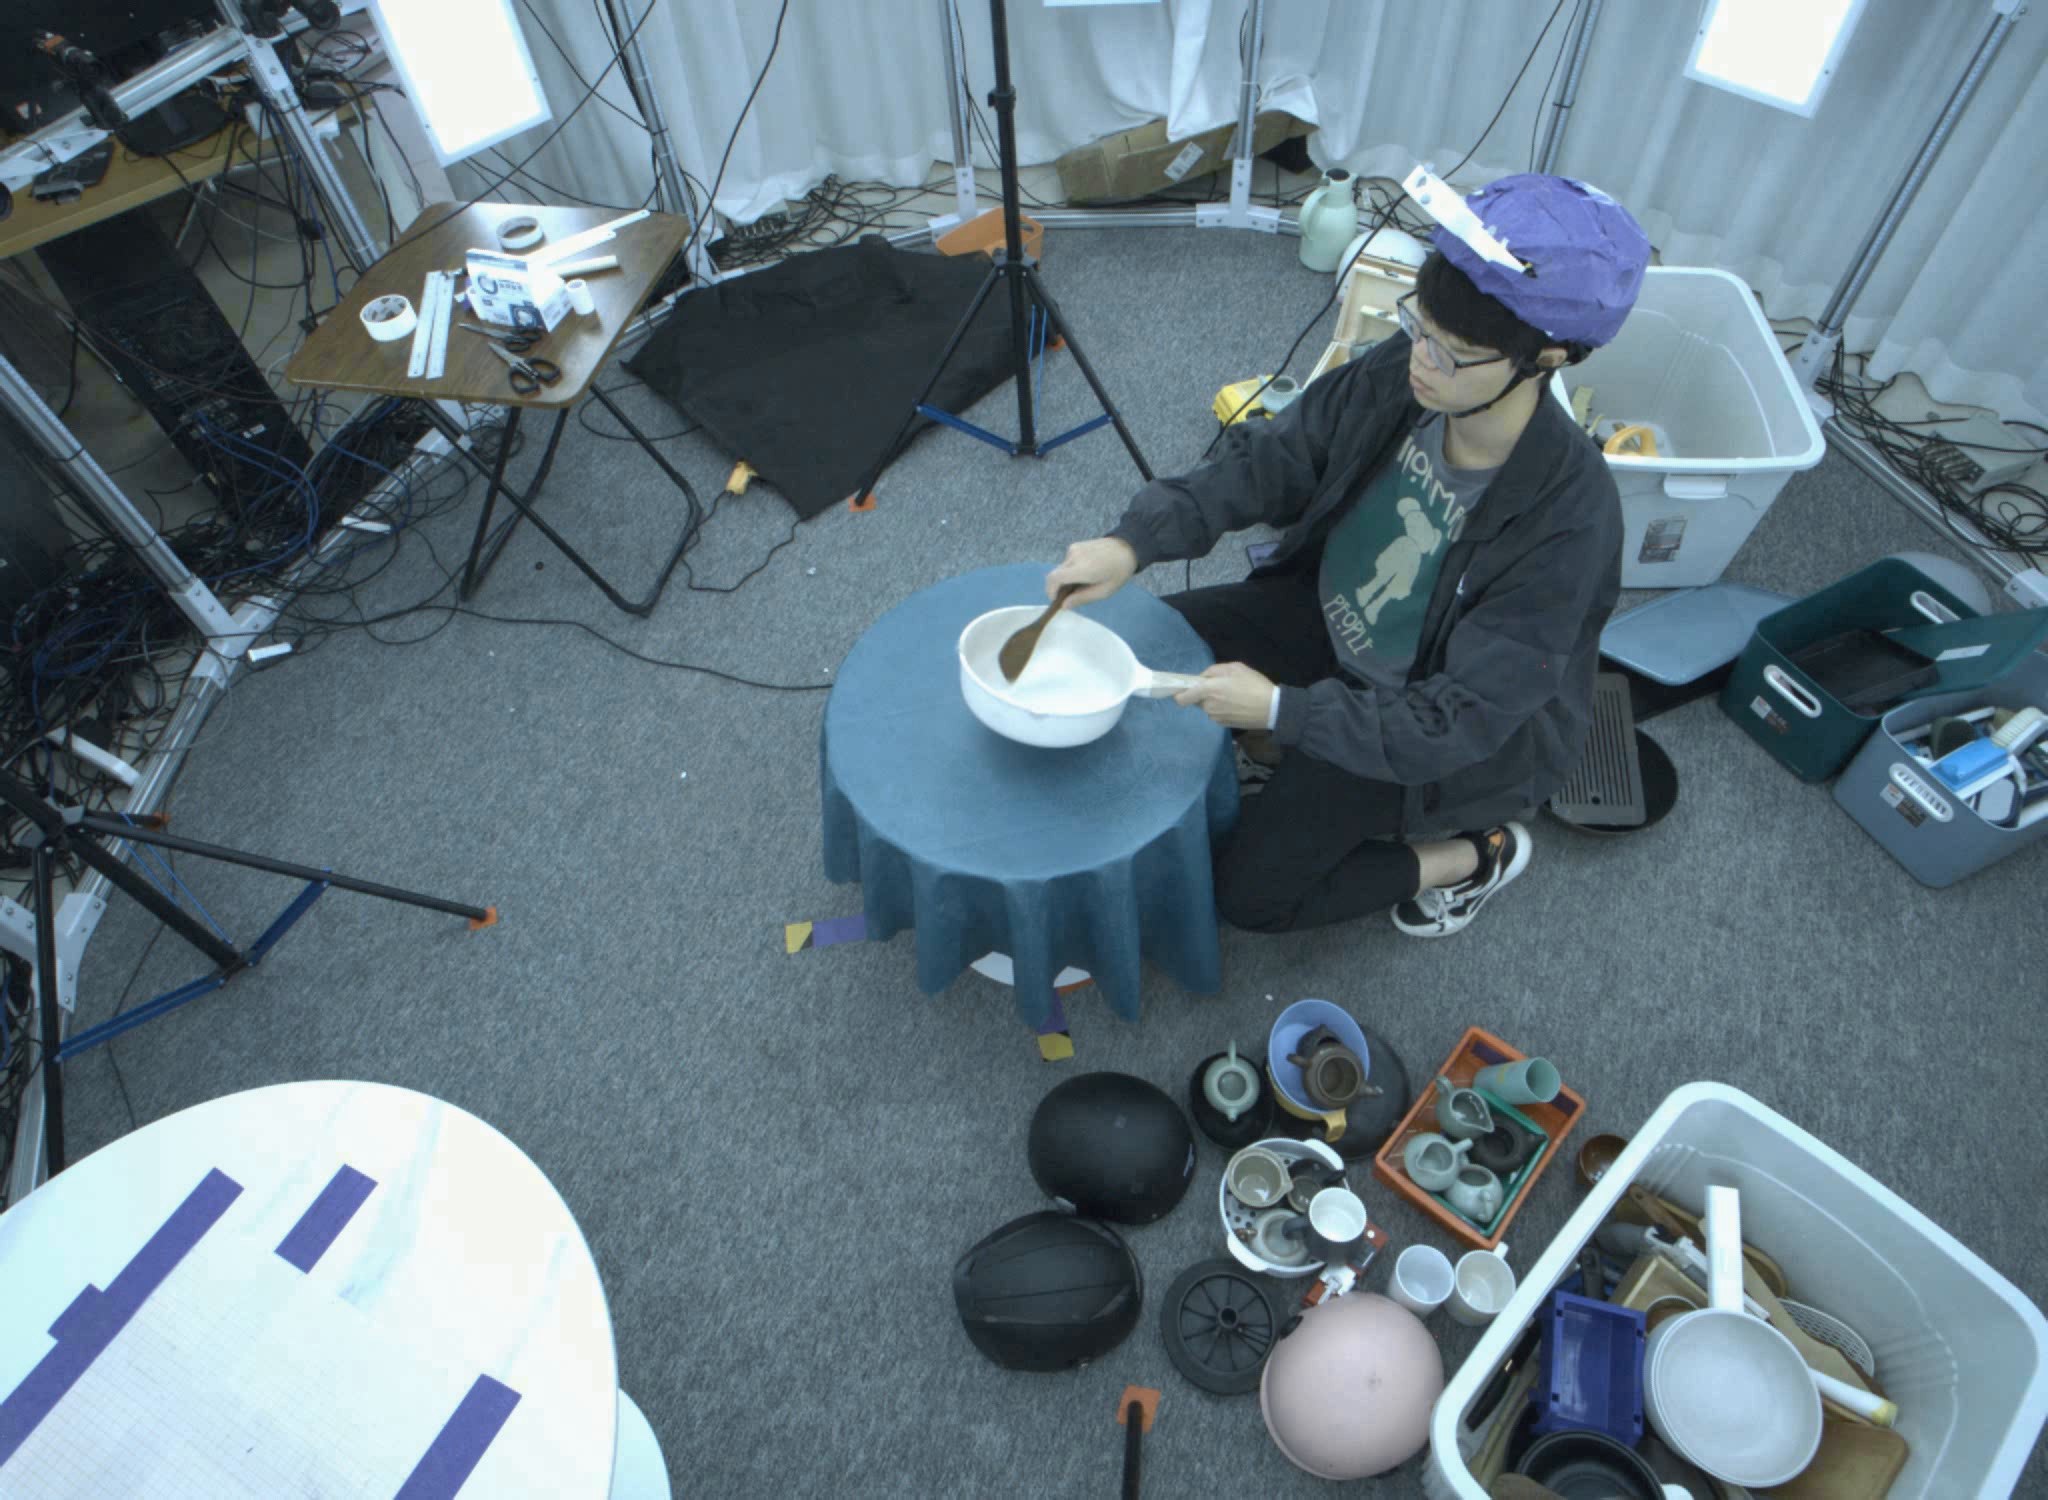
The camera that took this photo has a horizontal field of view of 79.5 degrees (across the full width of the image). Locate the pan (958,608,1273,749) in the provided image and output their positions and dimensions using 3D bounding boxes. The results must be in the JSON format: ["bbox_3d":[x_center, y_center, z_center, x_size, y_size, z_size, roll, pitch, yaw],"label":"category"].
[{"bbox_3d":[0.120,-0.082,1.707,0.436,0.102,0.261,12,38,-2],"label":"pan"}]

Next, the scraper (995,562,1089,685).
[{"bbox_3d":[0.027,-0.185,1.735,0.010,0.077,0.212,30,72,29],"label":"scraper"}]
